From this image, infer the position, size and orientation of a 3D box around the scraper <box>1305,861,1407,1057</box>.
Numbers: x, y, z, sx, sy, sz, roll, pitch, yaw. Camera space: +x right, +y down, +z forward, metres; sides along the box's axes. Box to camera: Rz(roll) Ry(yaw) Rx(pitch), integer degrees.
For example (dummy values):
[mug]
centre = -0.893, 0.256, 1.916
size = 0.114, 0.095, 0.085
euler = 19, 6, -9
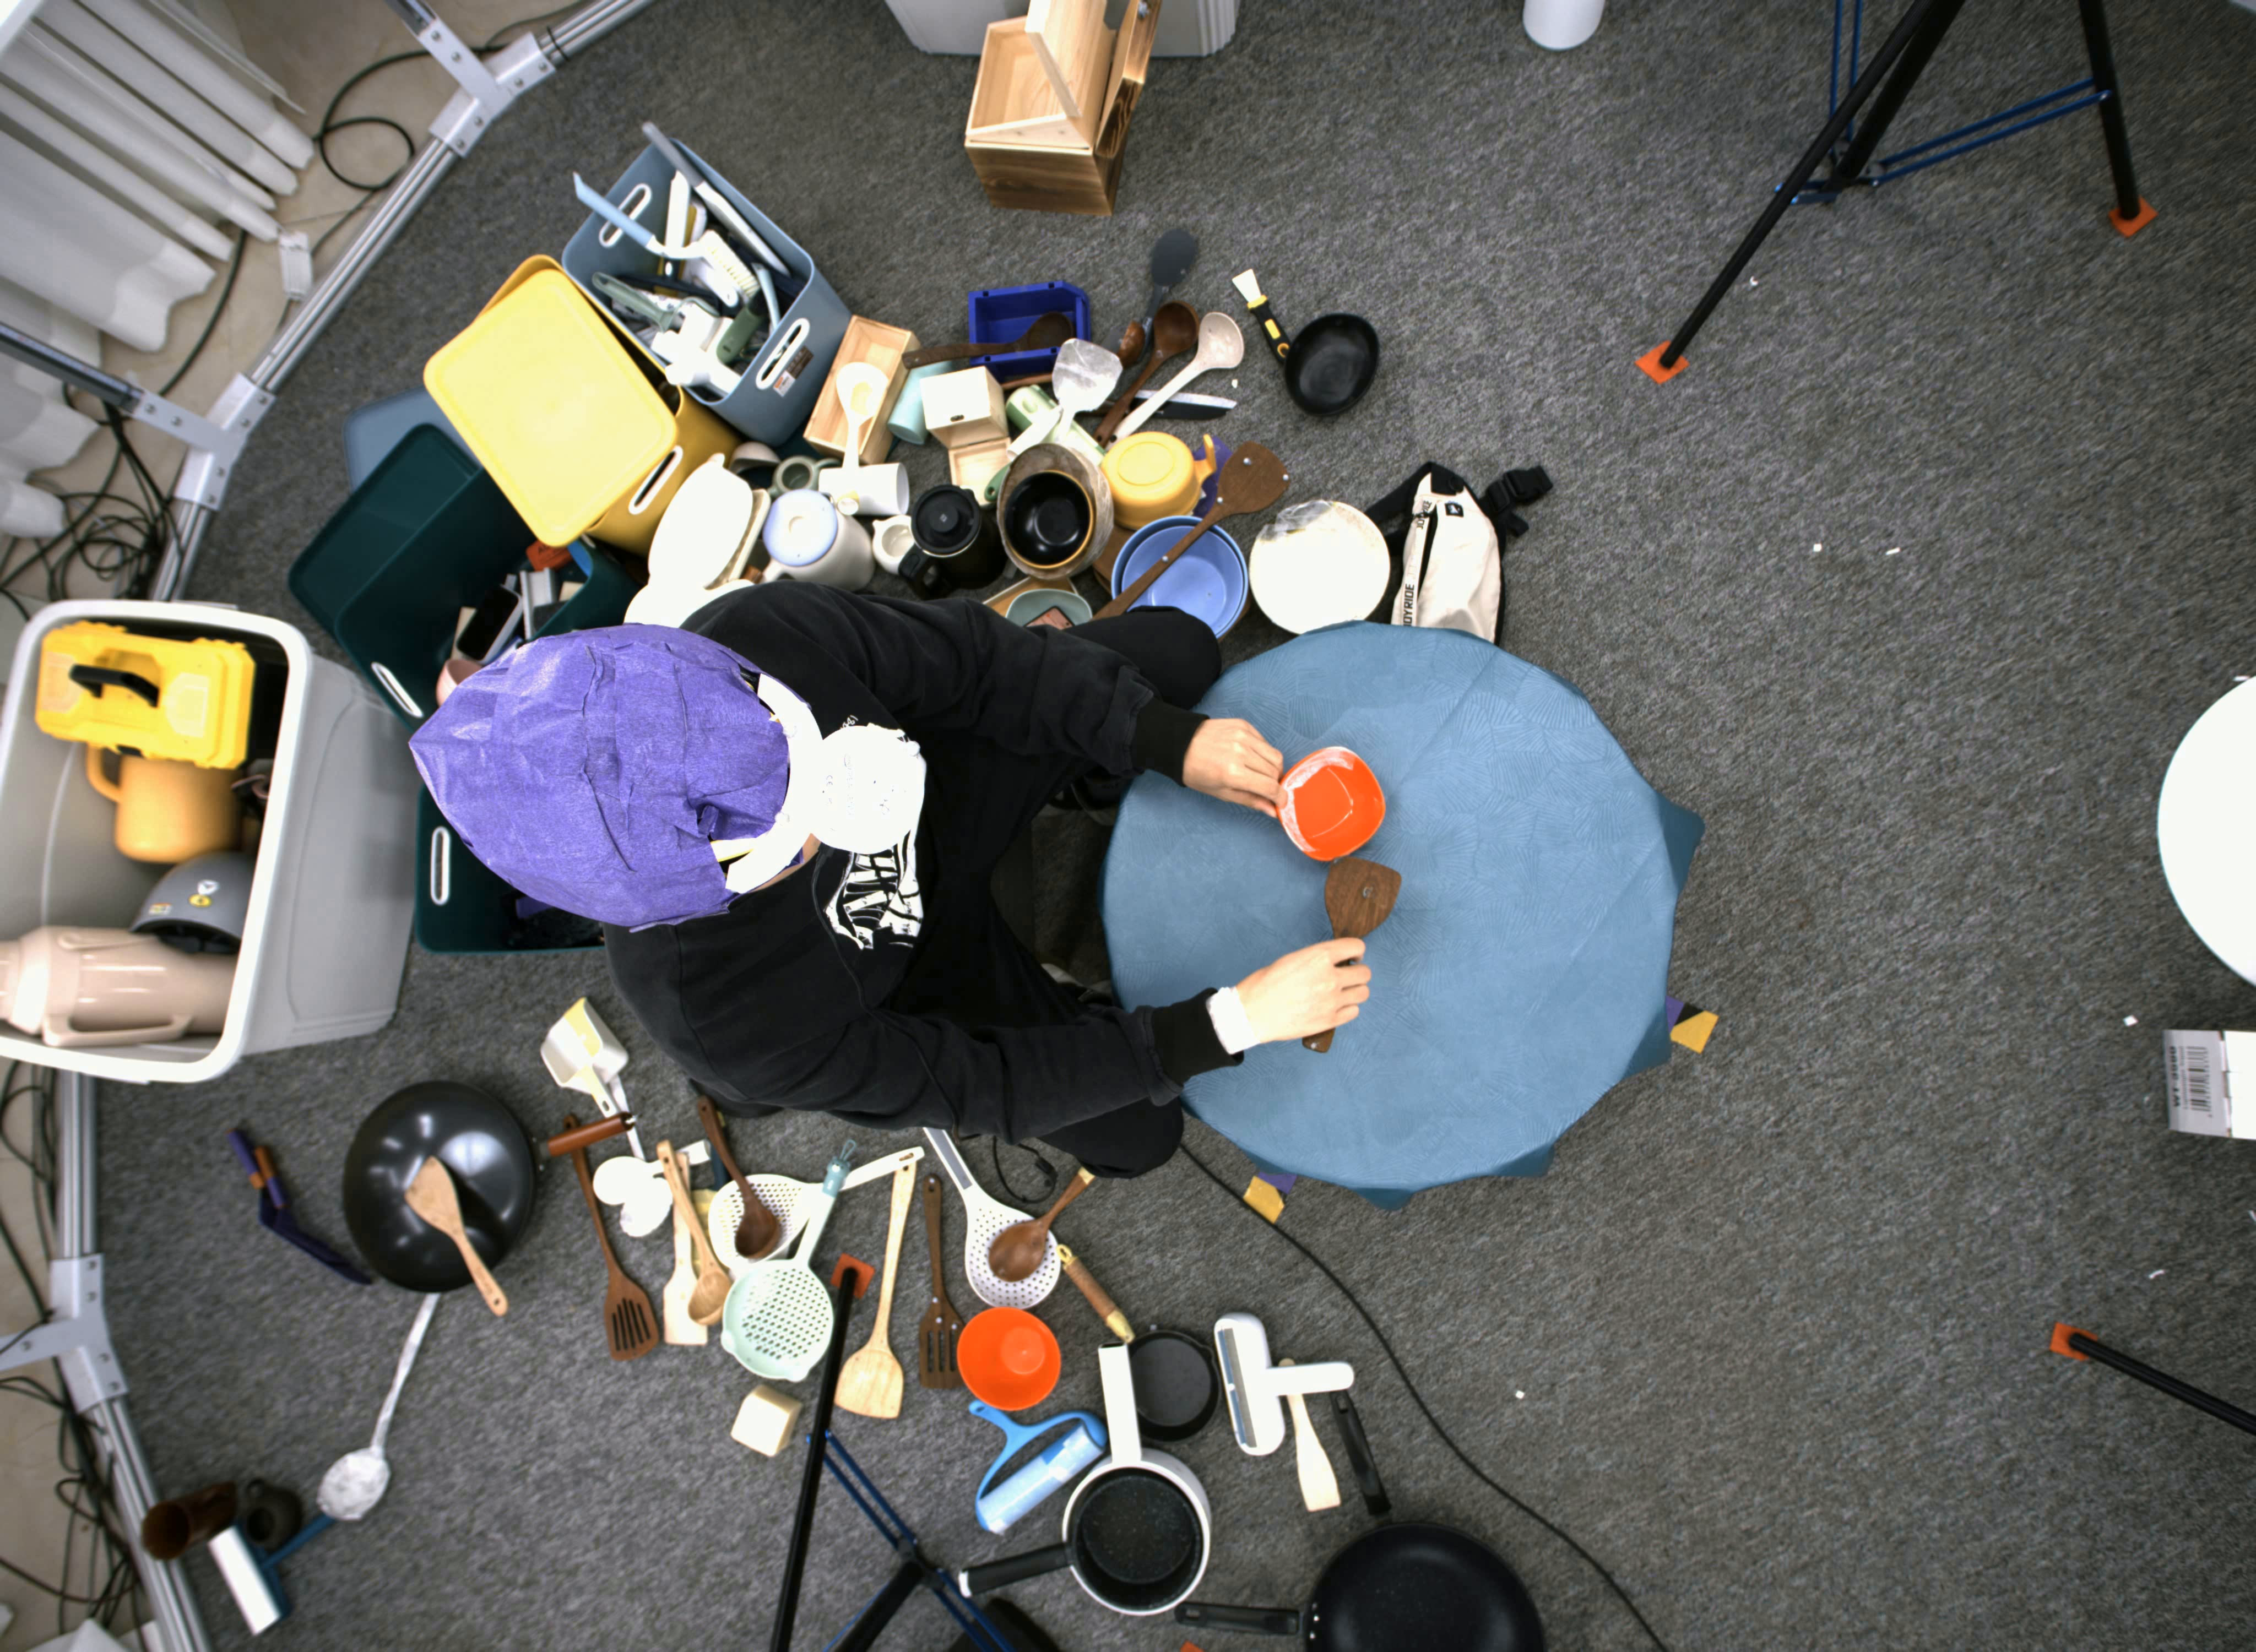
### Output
[scraper]
centre = 0.214, 0.128, 1.357
size = 0.076, 0.011, 0.207
euler = 17, 65, 10

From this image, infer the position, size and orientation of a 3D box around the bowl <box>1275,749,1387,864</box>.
[bowl]
centre = 0.207, -0.023, 1.447
size = 0.119, 0.051, 0.119
euler = -1, 97, -9
